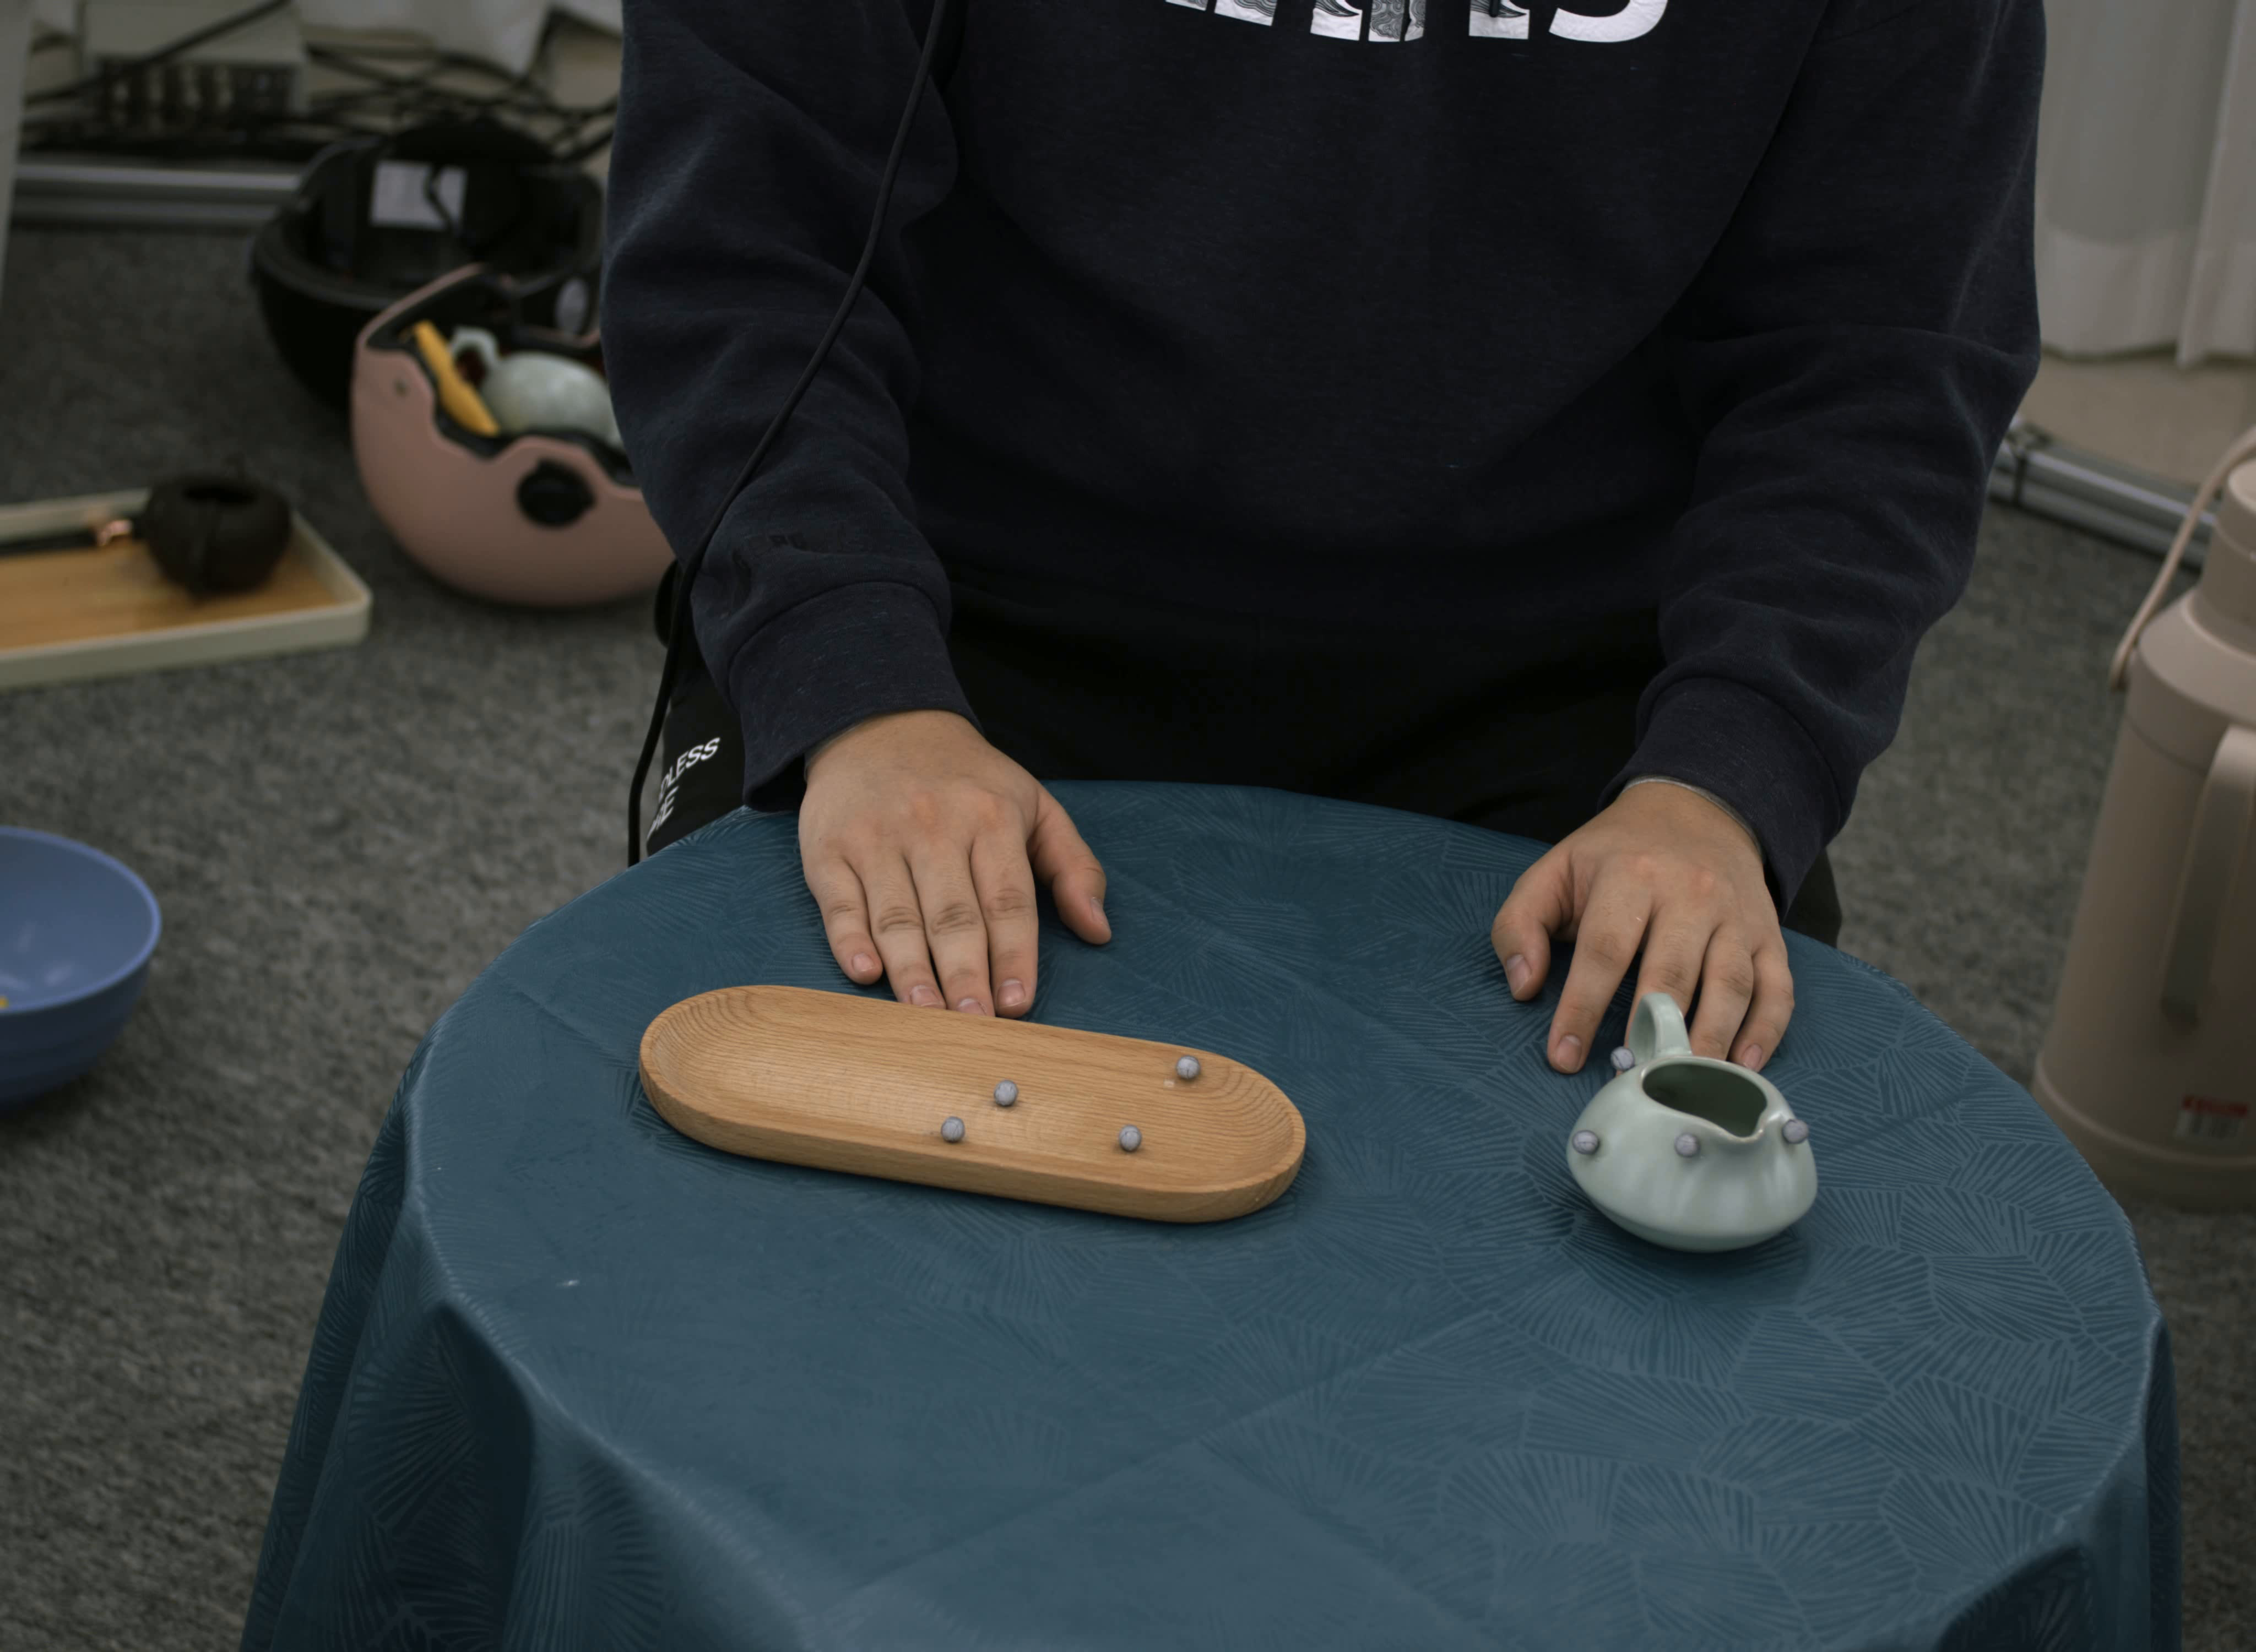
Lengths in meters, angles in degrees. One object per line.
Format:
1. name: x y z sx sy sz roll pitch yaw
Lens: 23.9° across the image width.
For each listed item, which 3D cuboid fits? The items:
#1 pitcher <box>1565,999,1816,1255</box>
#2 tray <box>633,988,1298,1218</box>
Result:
1. pitcher: 0.190 0.105 1.828 0.085 0.060 0.109 0 25 -16
2. tray: -0.056 0.096 1.831 0.231 0.020 0.102 7 25 4
